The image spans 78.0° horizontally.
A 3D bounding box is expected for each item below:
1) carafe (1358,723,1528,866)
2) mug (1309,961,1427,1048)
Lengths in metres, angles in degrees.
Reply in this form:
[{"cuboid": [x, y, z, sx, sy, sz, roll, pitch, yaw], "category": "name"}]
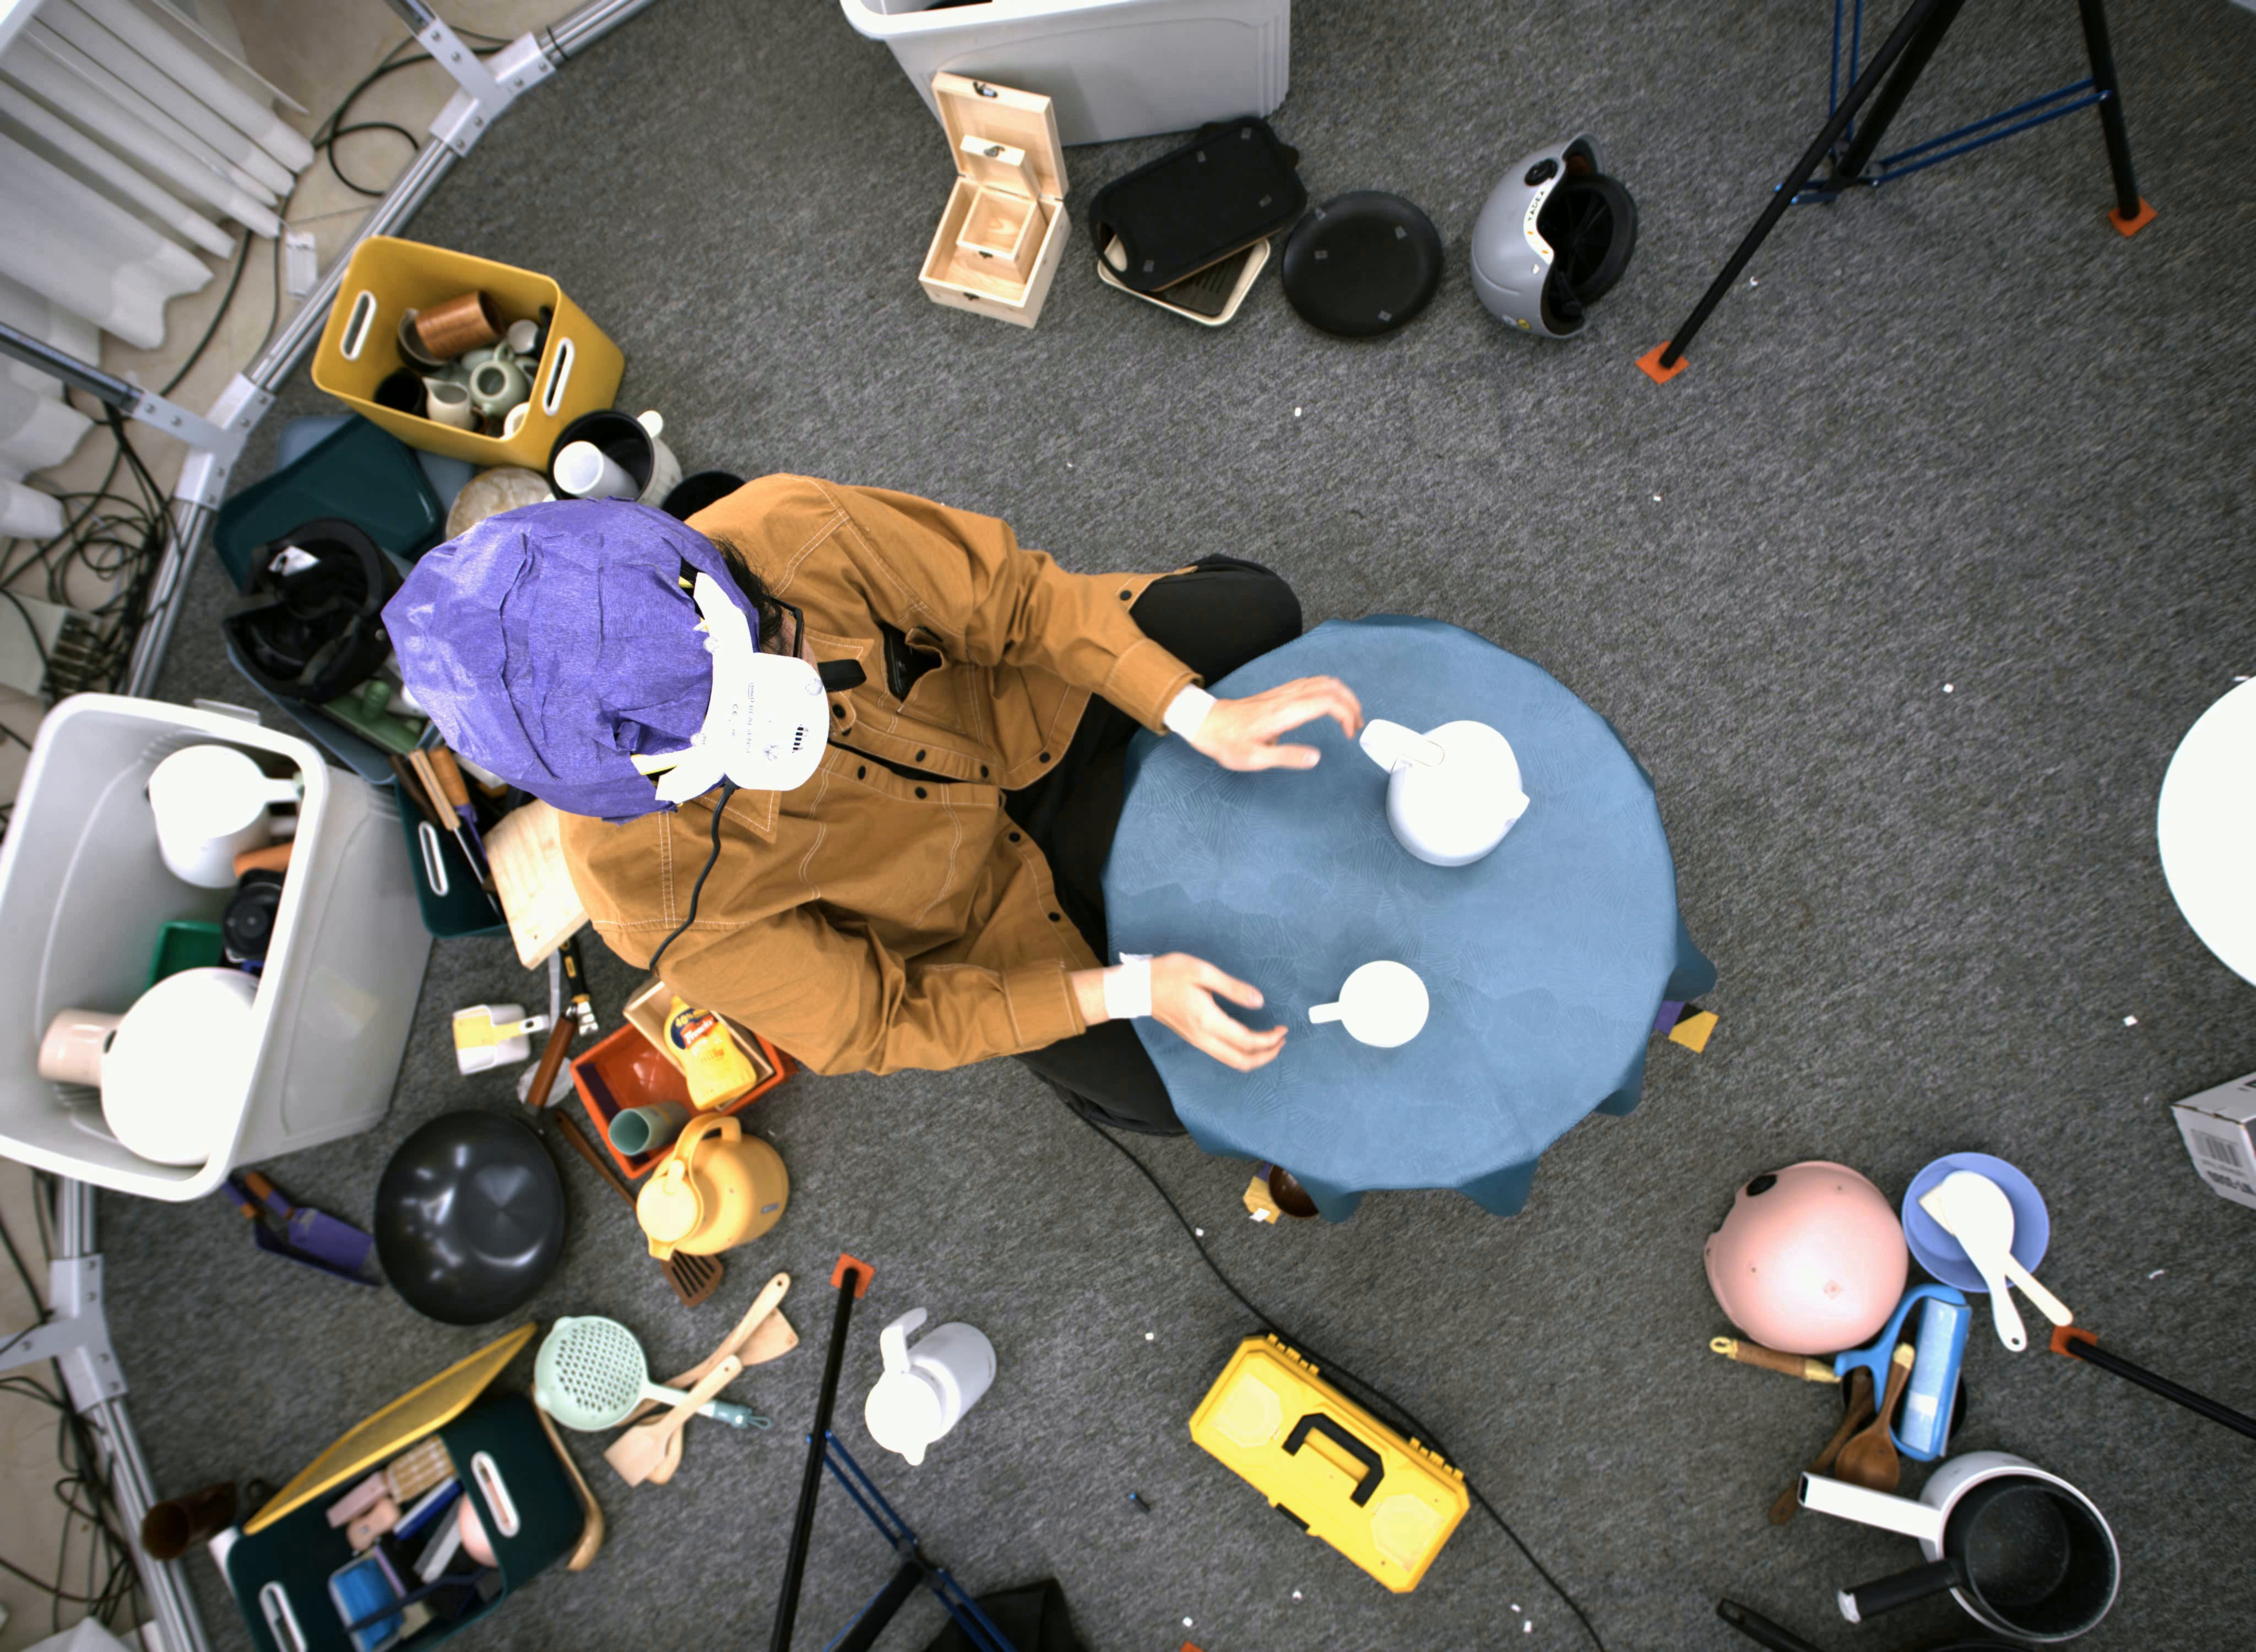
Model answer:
[{"cuboid": [0.301, -0.045, 1.335, 0.167, 0.248, 0.133, 30, 92, 12], "category": "carafe"}, {"cuboid": [0.244, 0.182, 1.409, 0.119, 0.102, 0.084, -12, 83, 10], "category": "mug"}]
